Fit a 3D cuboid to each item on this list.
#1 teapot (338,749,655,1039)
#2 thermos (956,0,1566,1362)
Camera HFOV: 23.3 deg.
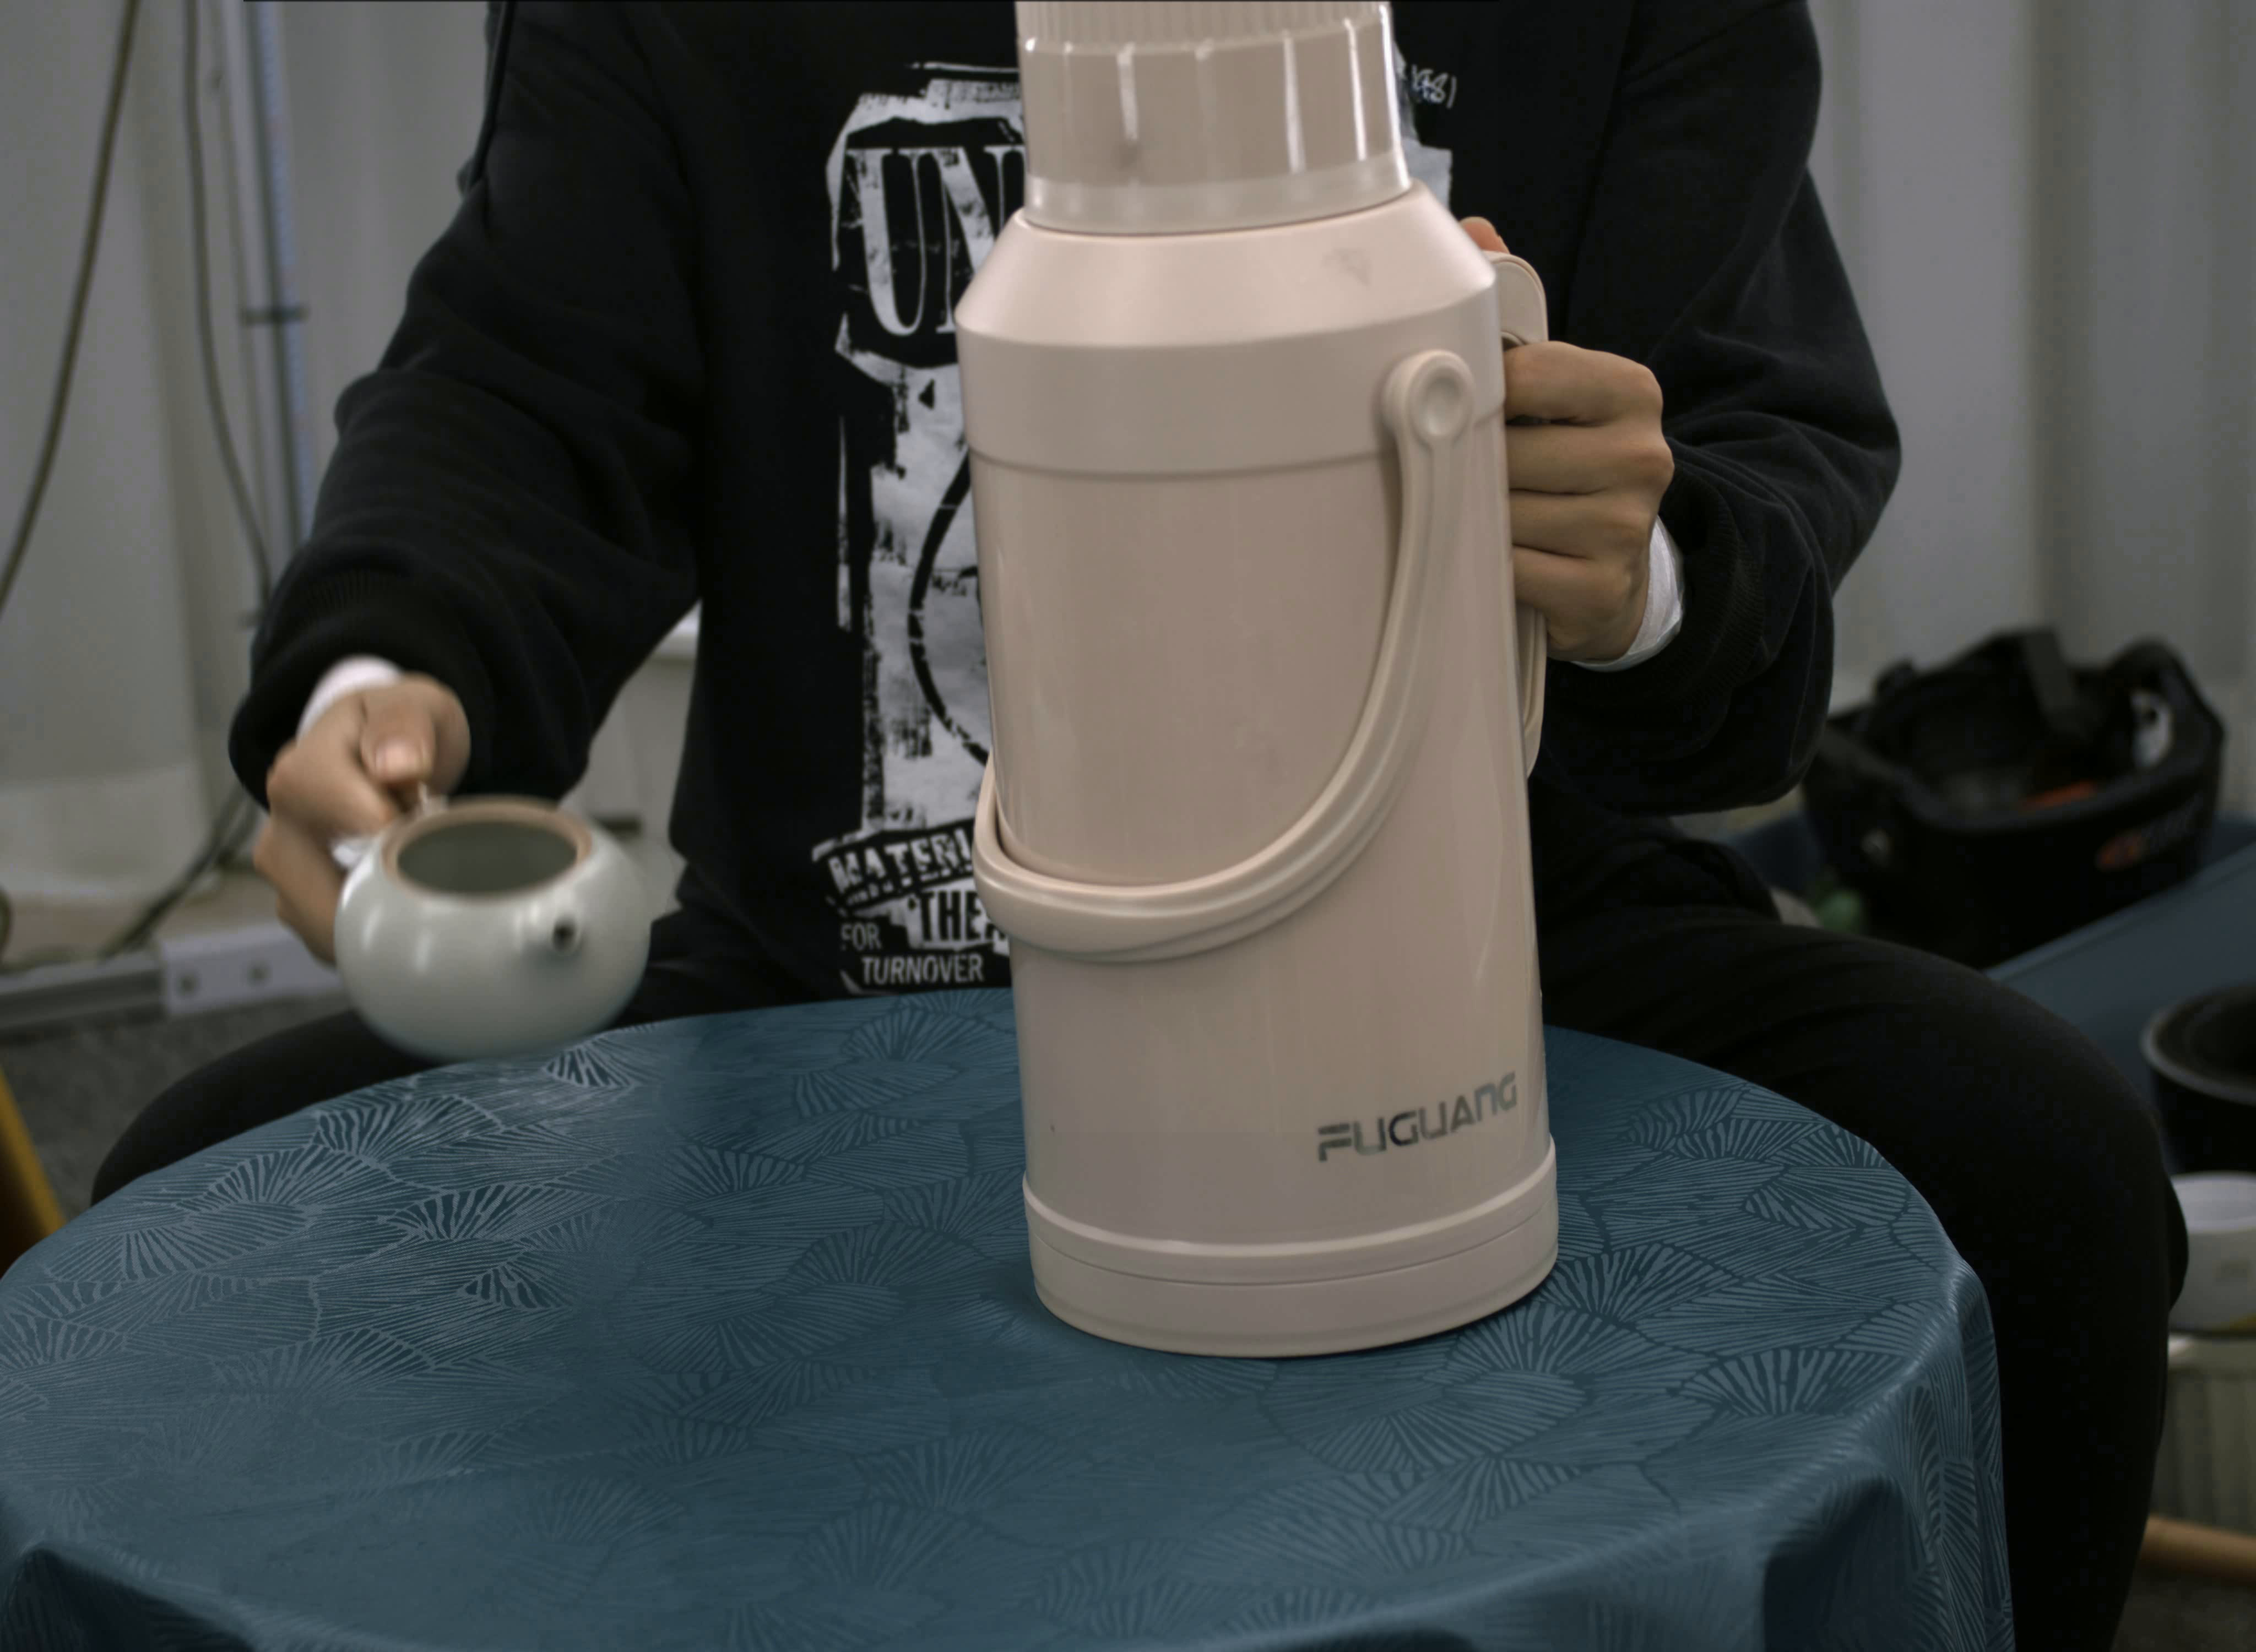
[{"bbox_3d":[-0.188,0.019,1.594,0.091,0.059,0.129,-19,33,-29],"label":"teapot"},{"bbox_3d":[0.048,-0.062,1.596,0.206,0.405,0.176,-17,17,-39],"label":"thermos"}]
